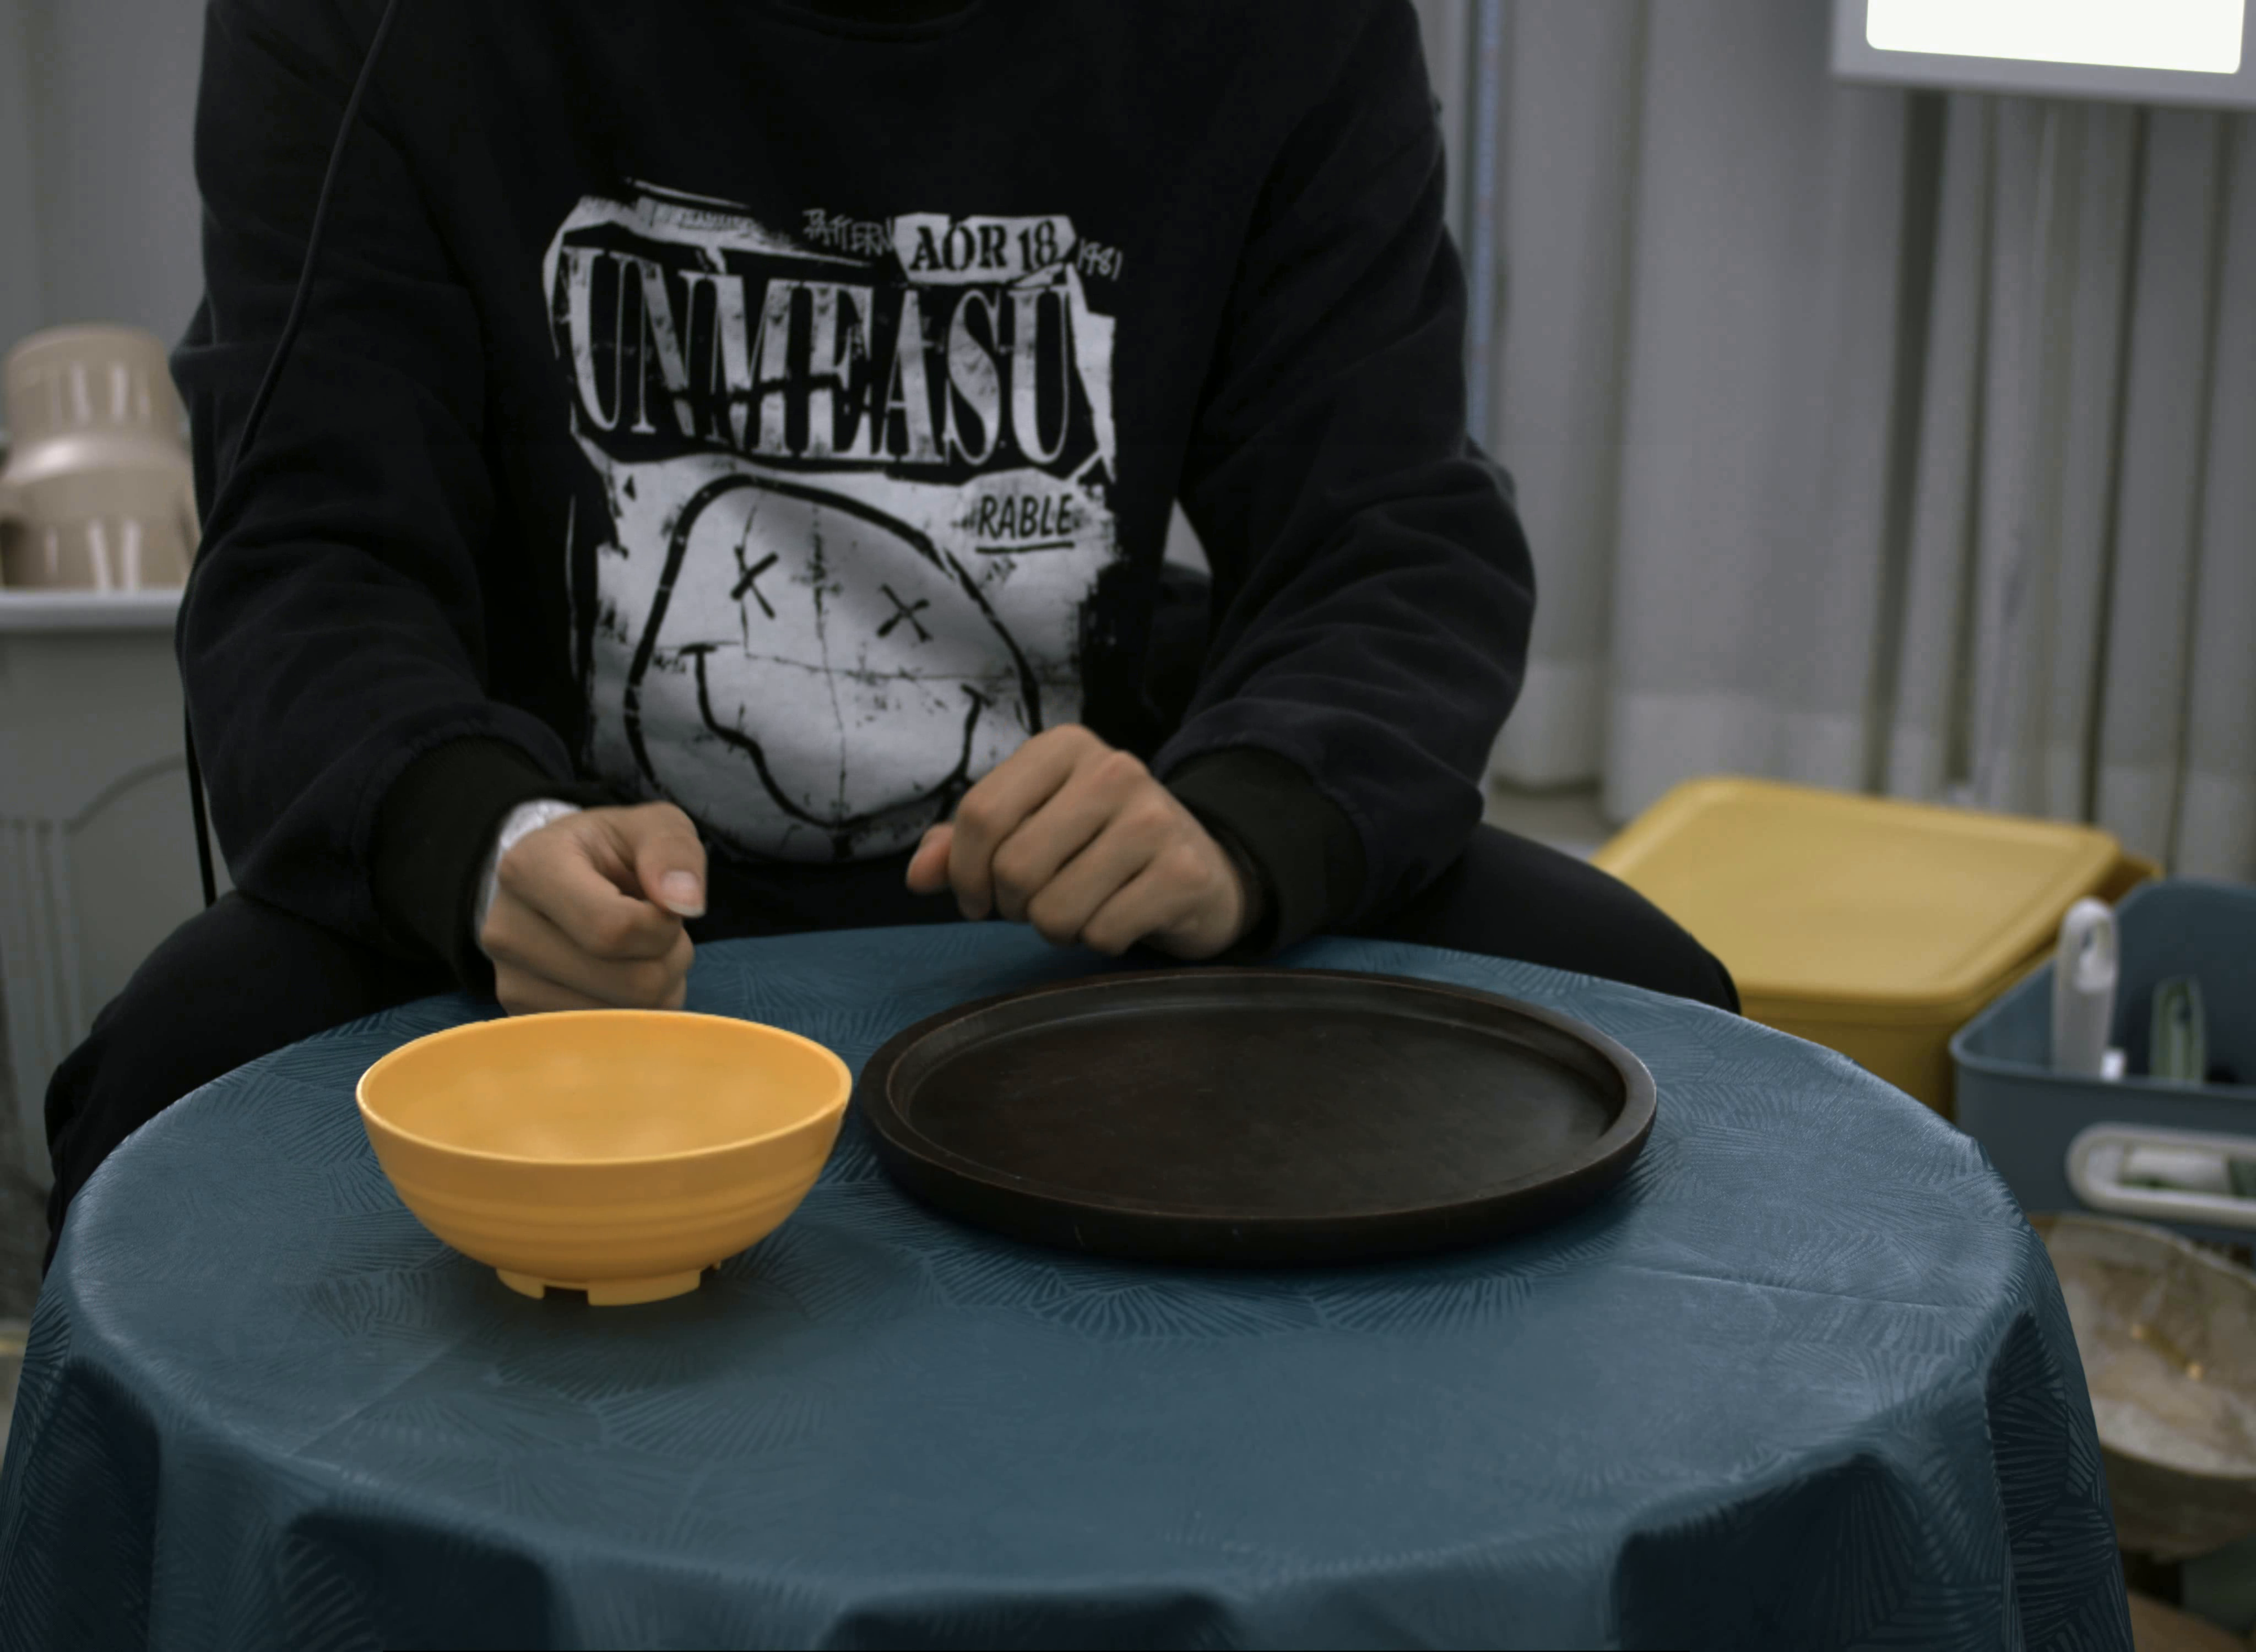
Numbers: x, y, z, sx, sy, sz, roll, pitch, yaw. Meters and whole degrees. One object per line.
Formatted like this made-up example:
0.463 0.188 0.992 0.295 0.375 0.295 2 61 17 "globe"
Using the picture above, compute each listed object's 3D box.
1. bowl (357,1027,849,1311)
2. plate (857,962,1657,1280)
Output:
-0.153 0.105 1.546 0.145 0.060 0.144 0 13 0 "bowl"
0.041 0.091 1.664 0.254 0.029 0.253 -1 16 1 "plate"
